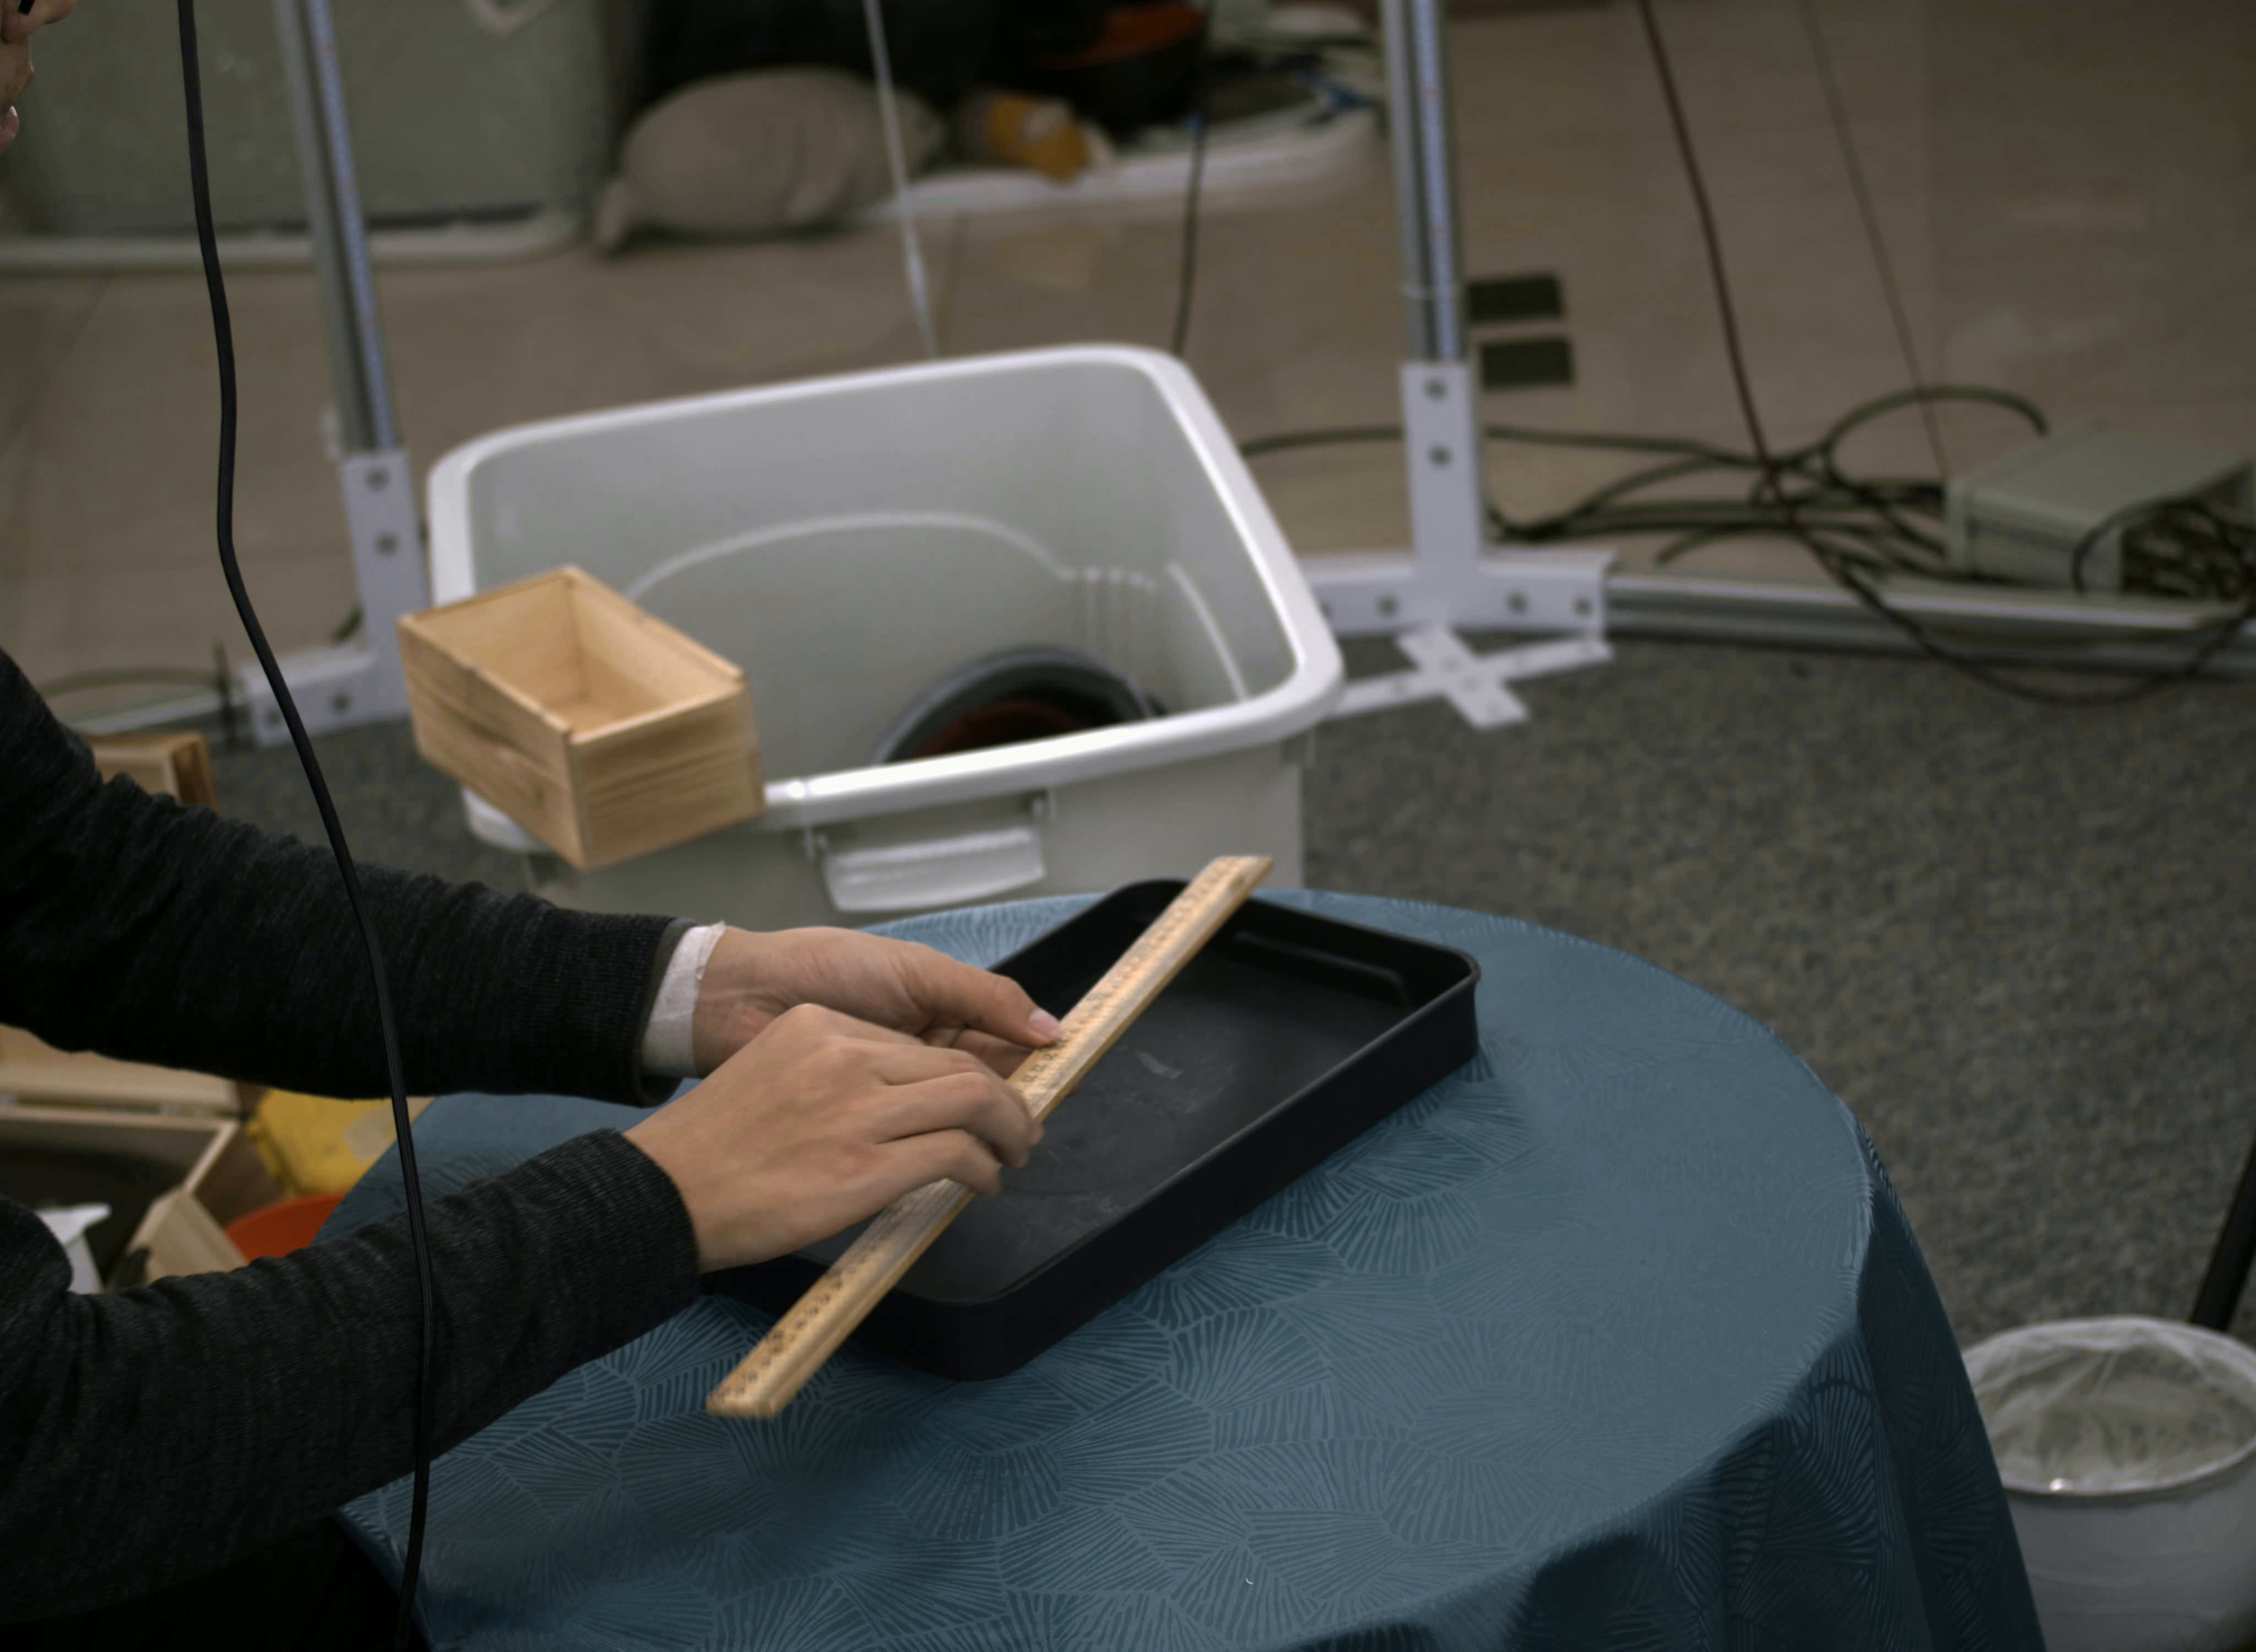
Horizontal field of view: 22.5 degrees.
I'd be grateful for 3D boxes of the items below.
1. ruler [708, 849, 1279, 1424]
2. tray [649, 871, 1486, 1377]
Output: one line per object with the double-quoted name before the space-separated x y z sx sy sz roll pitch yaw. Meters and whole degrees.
"ruler" -0.040 0.103 2.075 0.027 0.006 0.494 -2 21 24
"tray" -0.018 0.108 2.176 0.183 0.037 0.315 14 32 37
